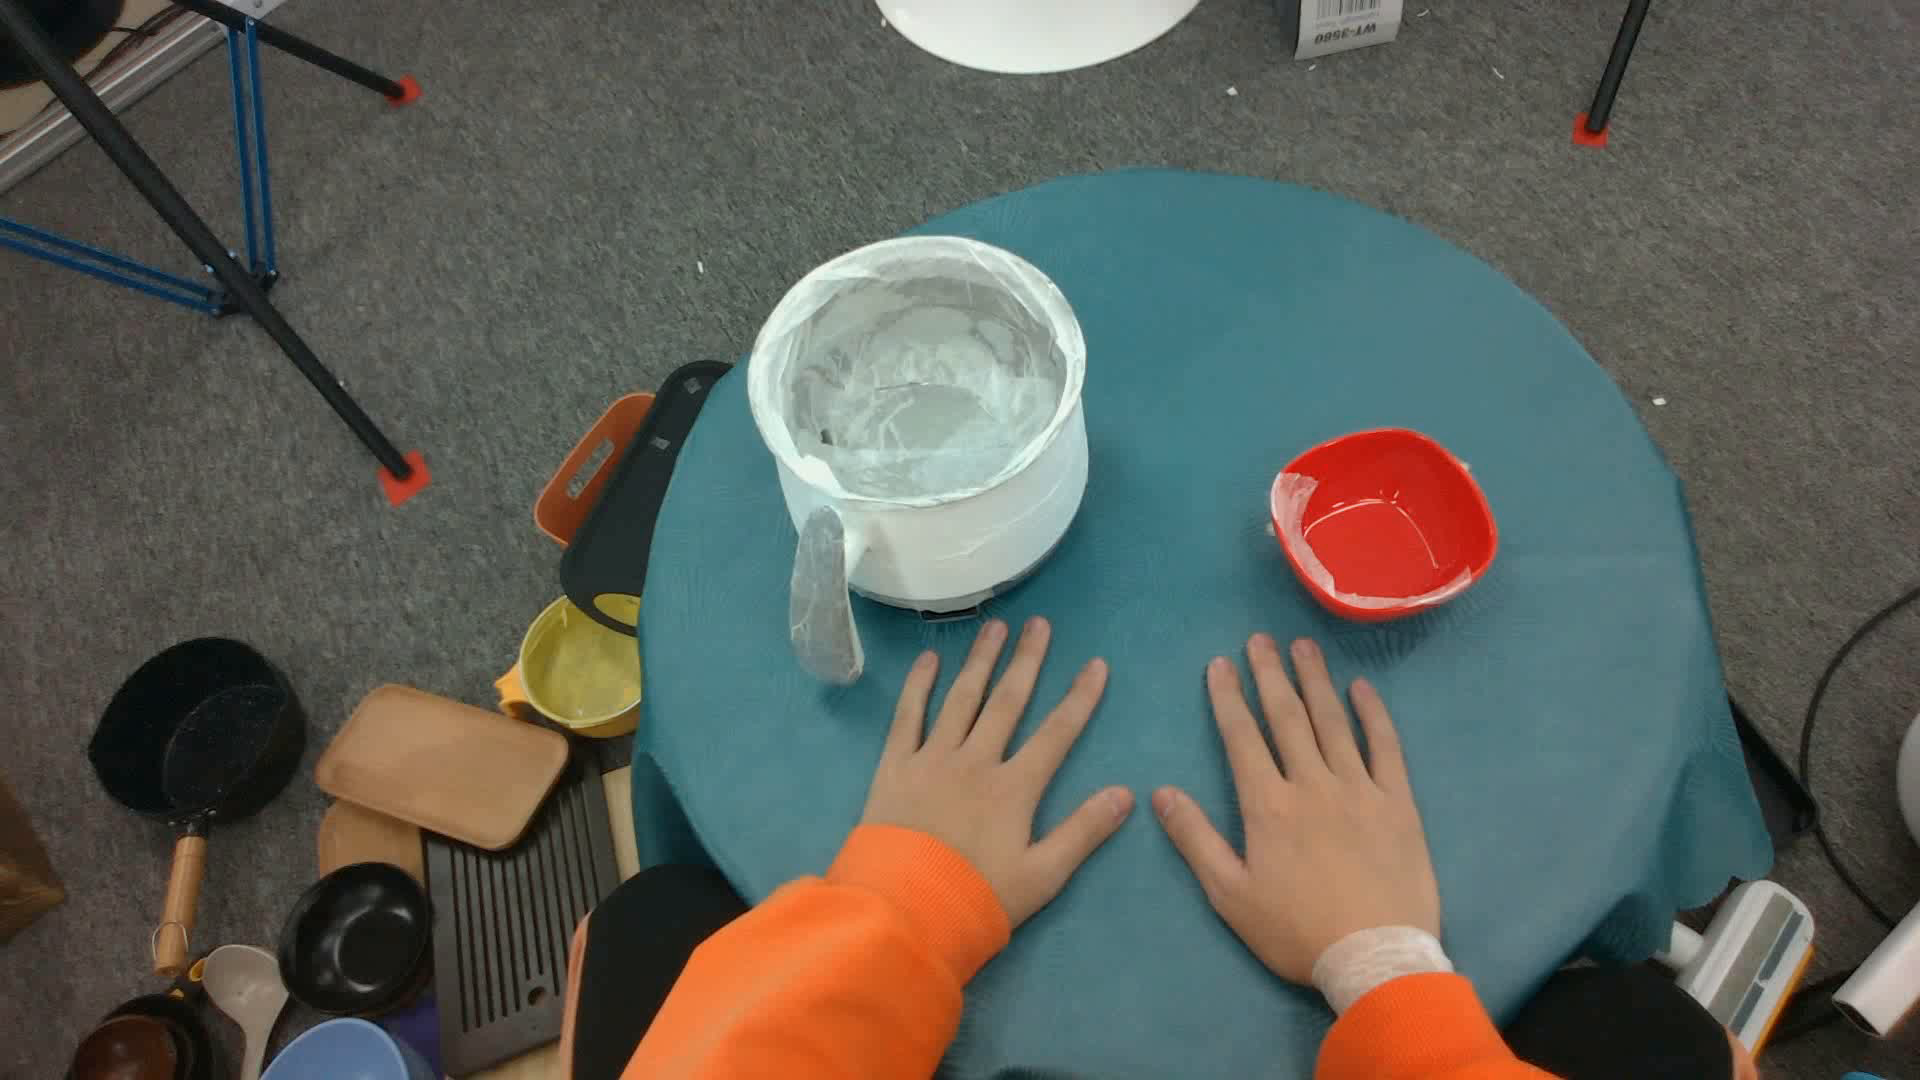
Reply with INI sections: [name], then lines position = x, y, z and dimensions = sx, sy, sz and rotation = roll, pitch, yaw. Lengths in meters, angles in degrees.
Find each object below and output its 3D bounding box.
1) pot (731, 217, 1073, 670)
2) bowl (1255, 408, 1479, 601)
[pot]
position = -0.037, -0.047, 0.756
dimensions = 0.178, 0.136, 0.234
rotation = 17, 63, 16
[bowl]
position = 0.220, -0.011, 0.760
dimensions = 0.119, 0.051, 0.119
rotation = -2, 59, 4
